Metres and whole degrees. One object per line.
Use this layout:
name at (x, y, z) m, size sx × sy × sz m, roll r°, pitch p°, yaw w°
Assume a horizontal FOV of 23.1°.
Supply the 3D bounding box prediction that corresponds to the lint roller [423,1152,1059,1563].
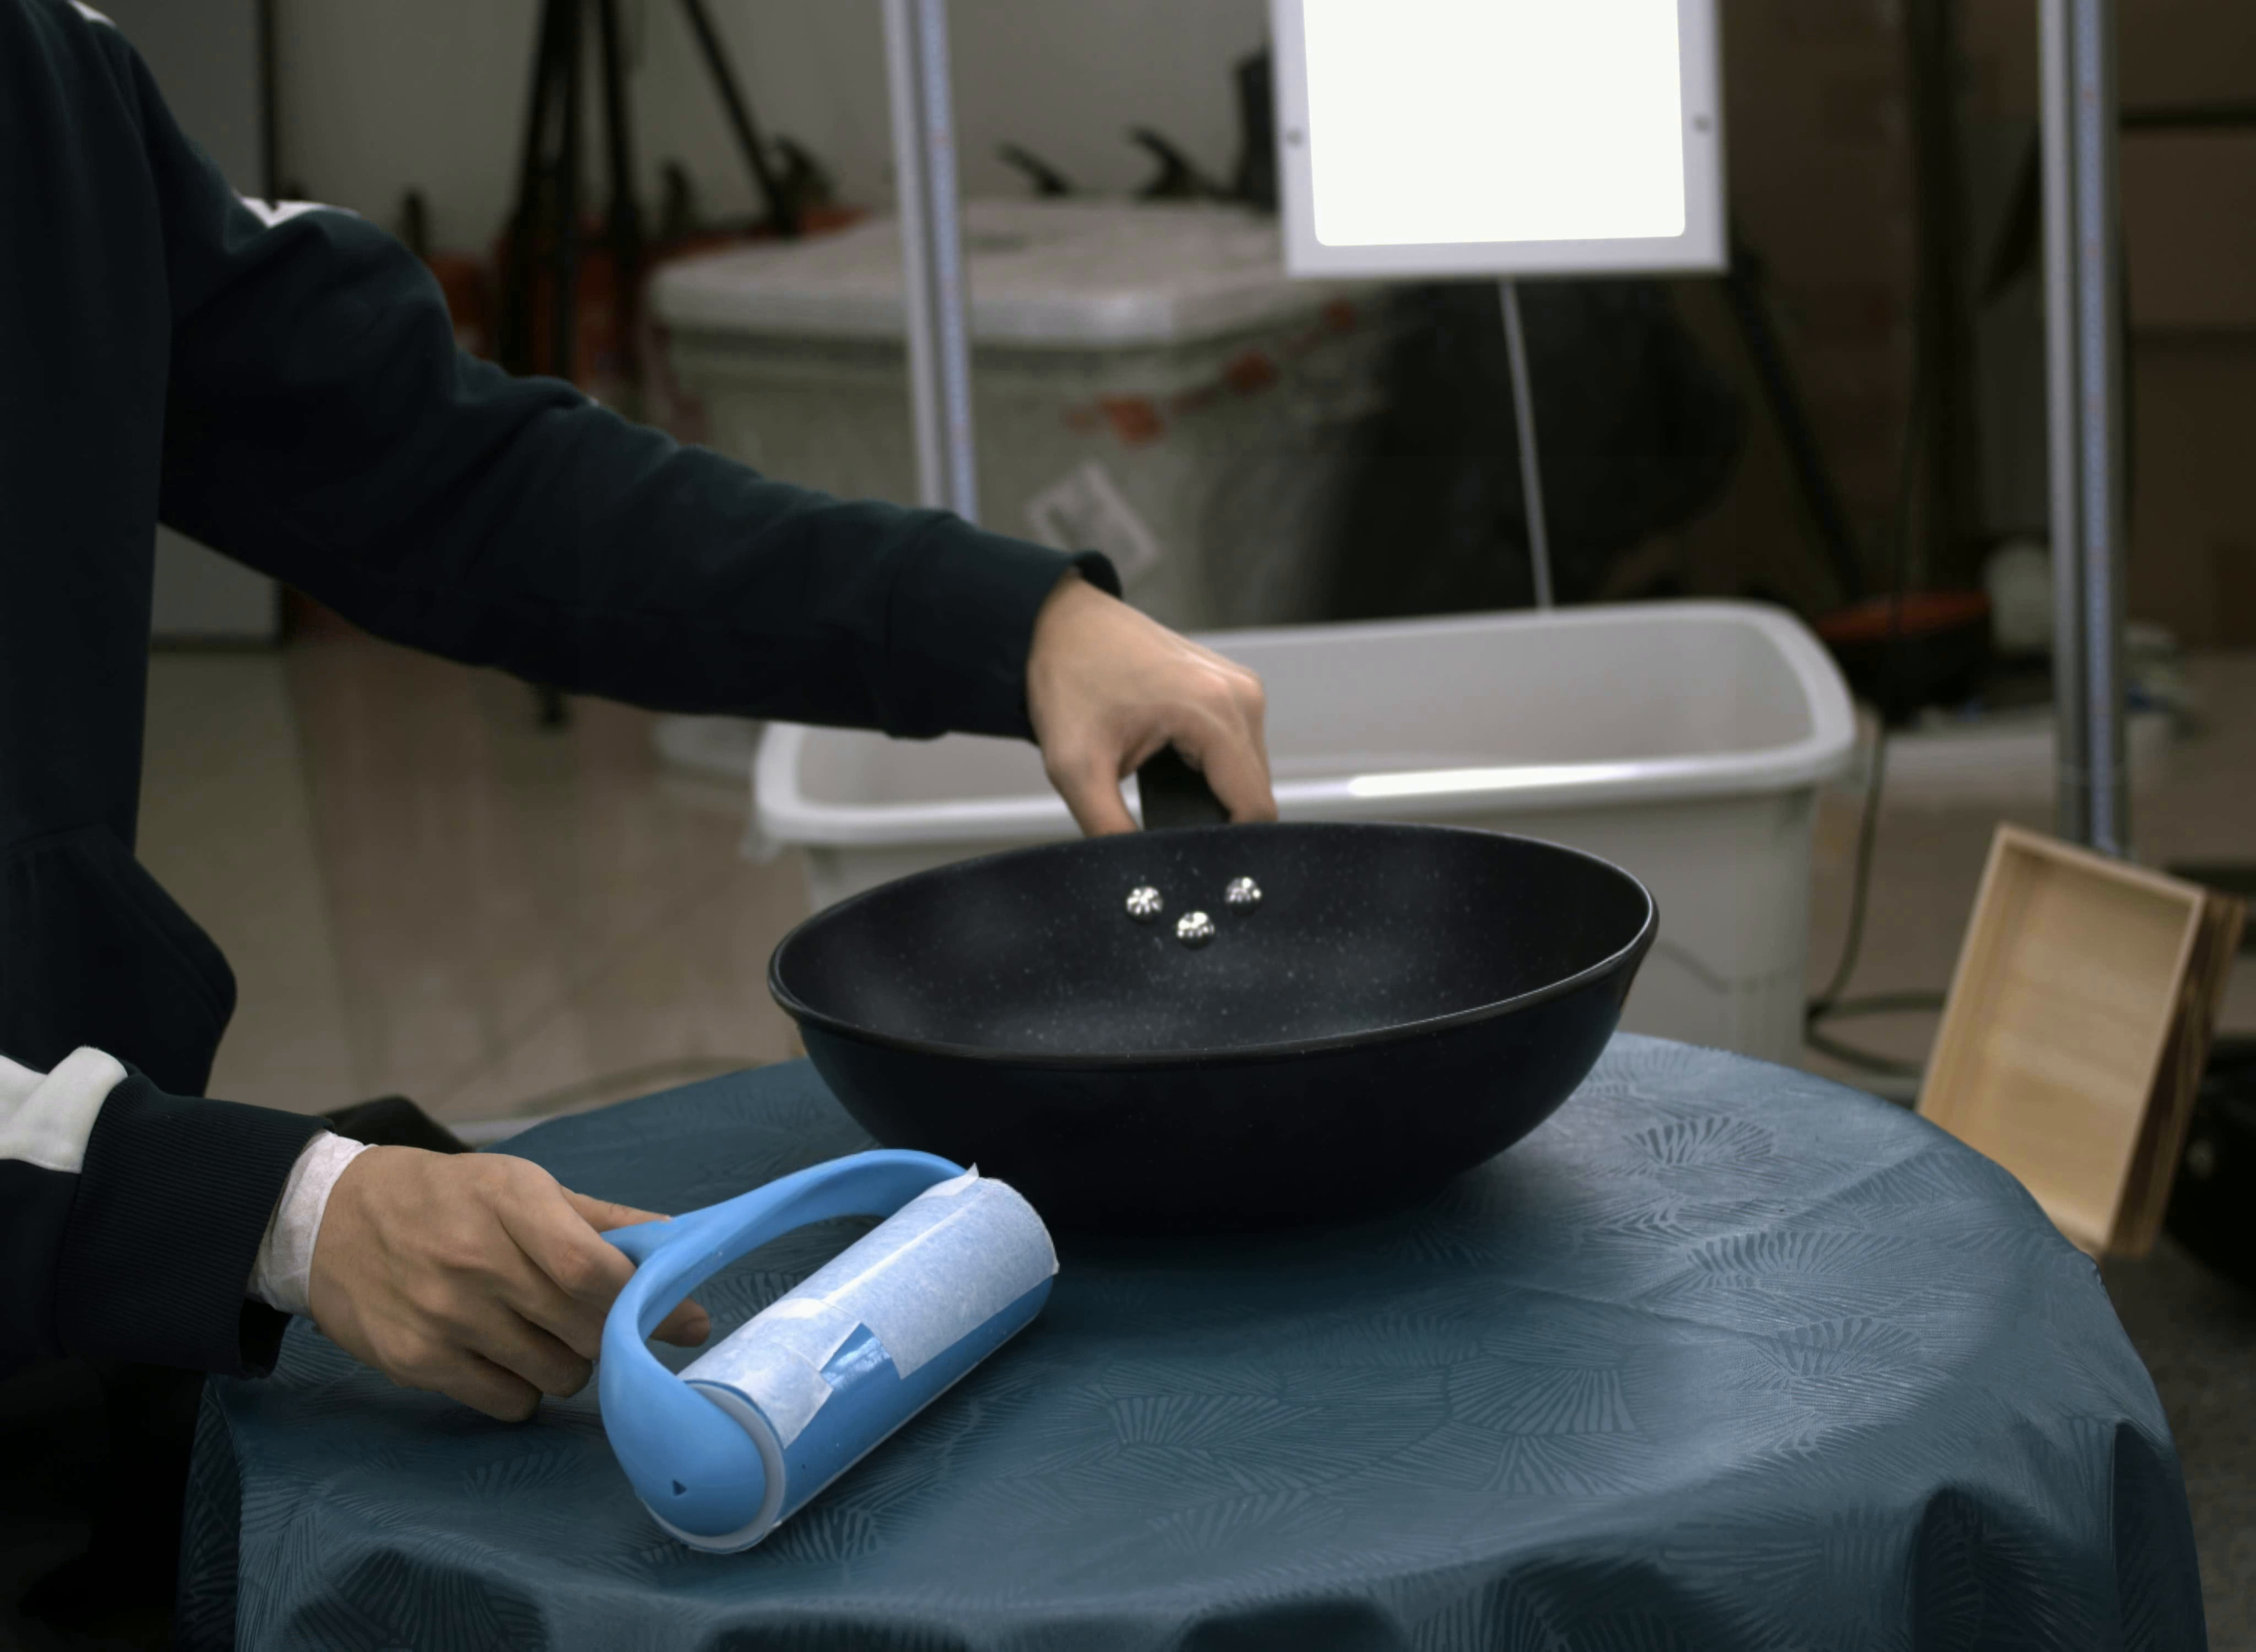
lint roller at (-0.137, 0.156, 1.694) m, size 0.182 × 0.068 × 0.225 m, roll 5°, pitch 19°, yaw 19°

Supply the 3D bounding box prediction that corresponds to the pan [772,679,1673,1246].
pan at (0.029, 0.049, 1.976) m, size 0.309 × 0.112 × 0.476 m, roll -4°, pitch 14°, yaw -2°
